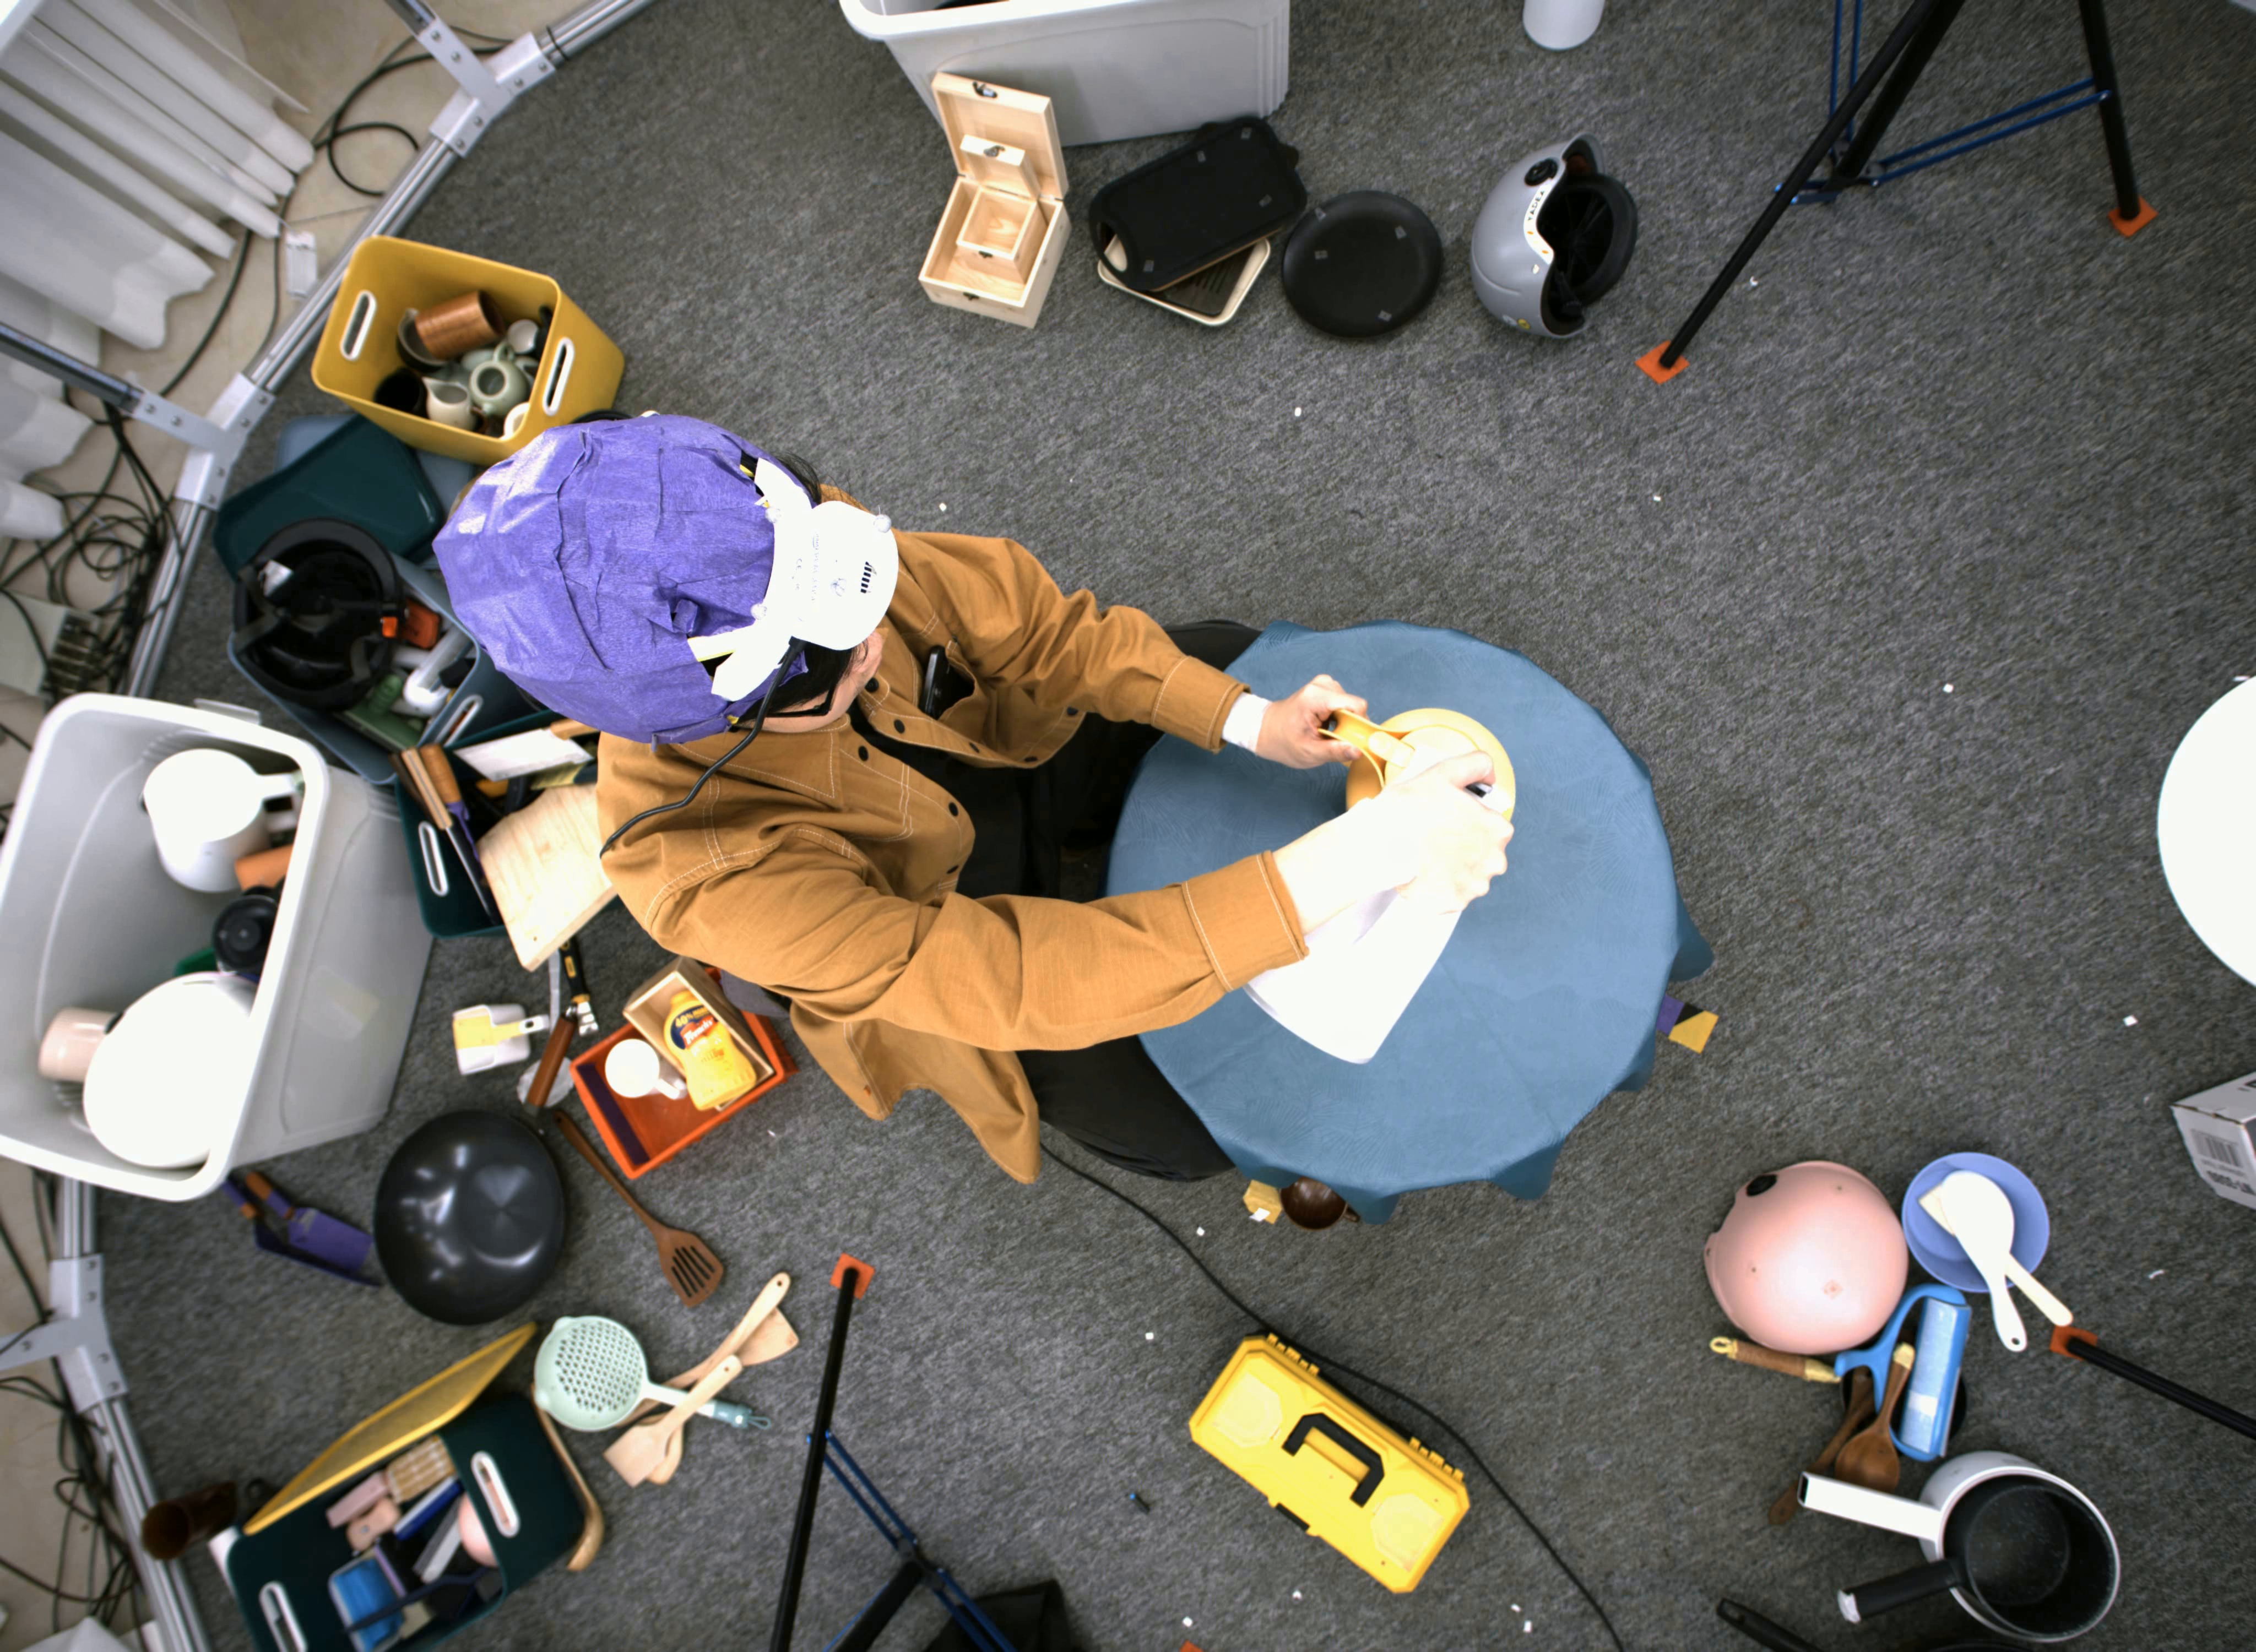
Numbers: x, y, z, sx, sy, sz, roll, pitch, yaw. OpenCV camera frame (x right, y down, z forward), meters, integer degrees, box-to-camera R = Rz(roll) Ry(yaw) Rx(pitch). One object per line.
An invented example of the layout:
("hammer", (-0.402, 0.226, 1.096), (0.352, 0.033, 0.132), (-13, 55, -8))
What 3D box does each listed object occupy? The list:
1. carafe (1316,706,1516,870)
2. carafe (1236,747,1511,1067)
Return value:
("carafe", (0.276, -0.045, 1.335), (0.202, 0.261, 0.163), (34, 90, 10))
("carafe", (0.208, 0.061, 1.109), (0.132, 0.165, 0.251), (31, 103, -2))
